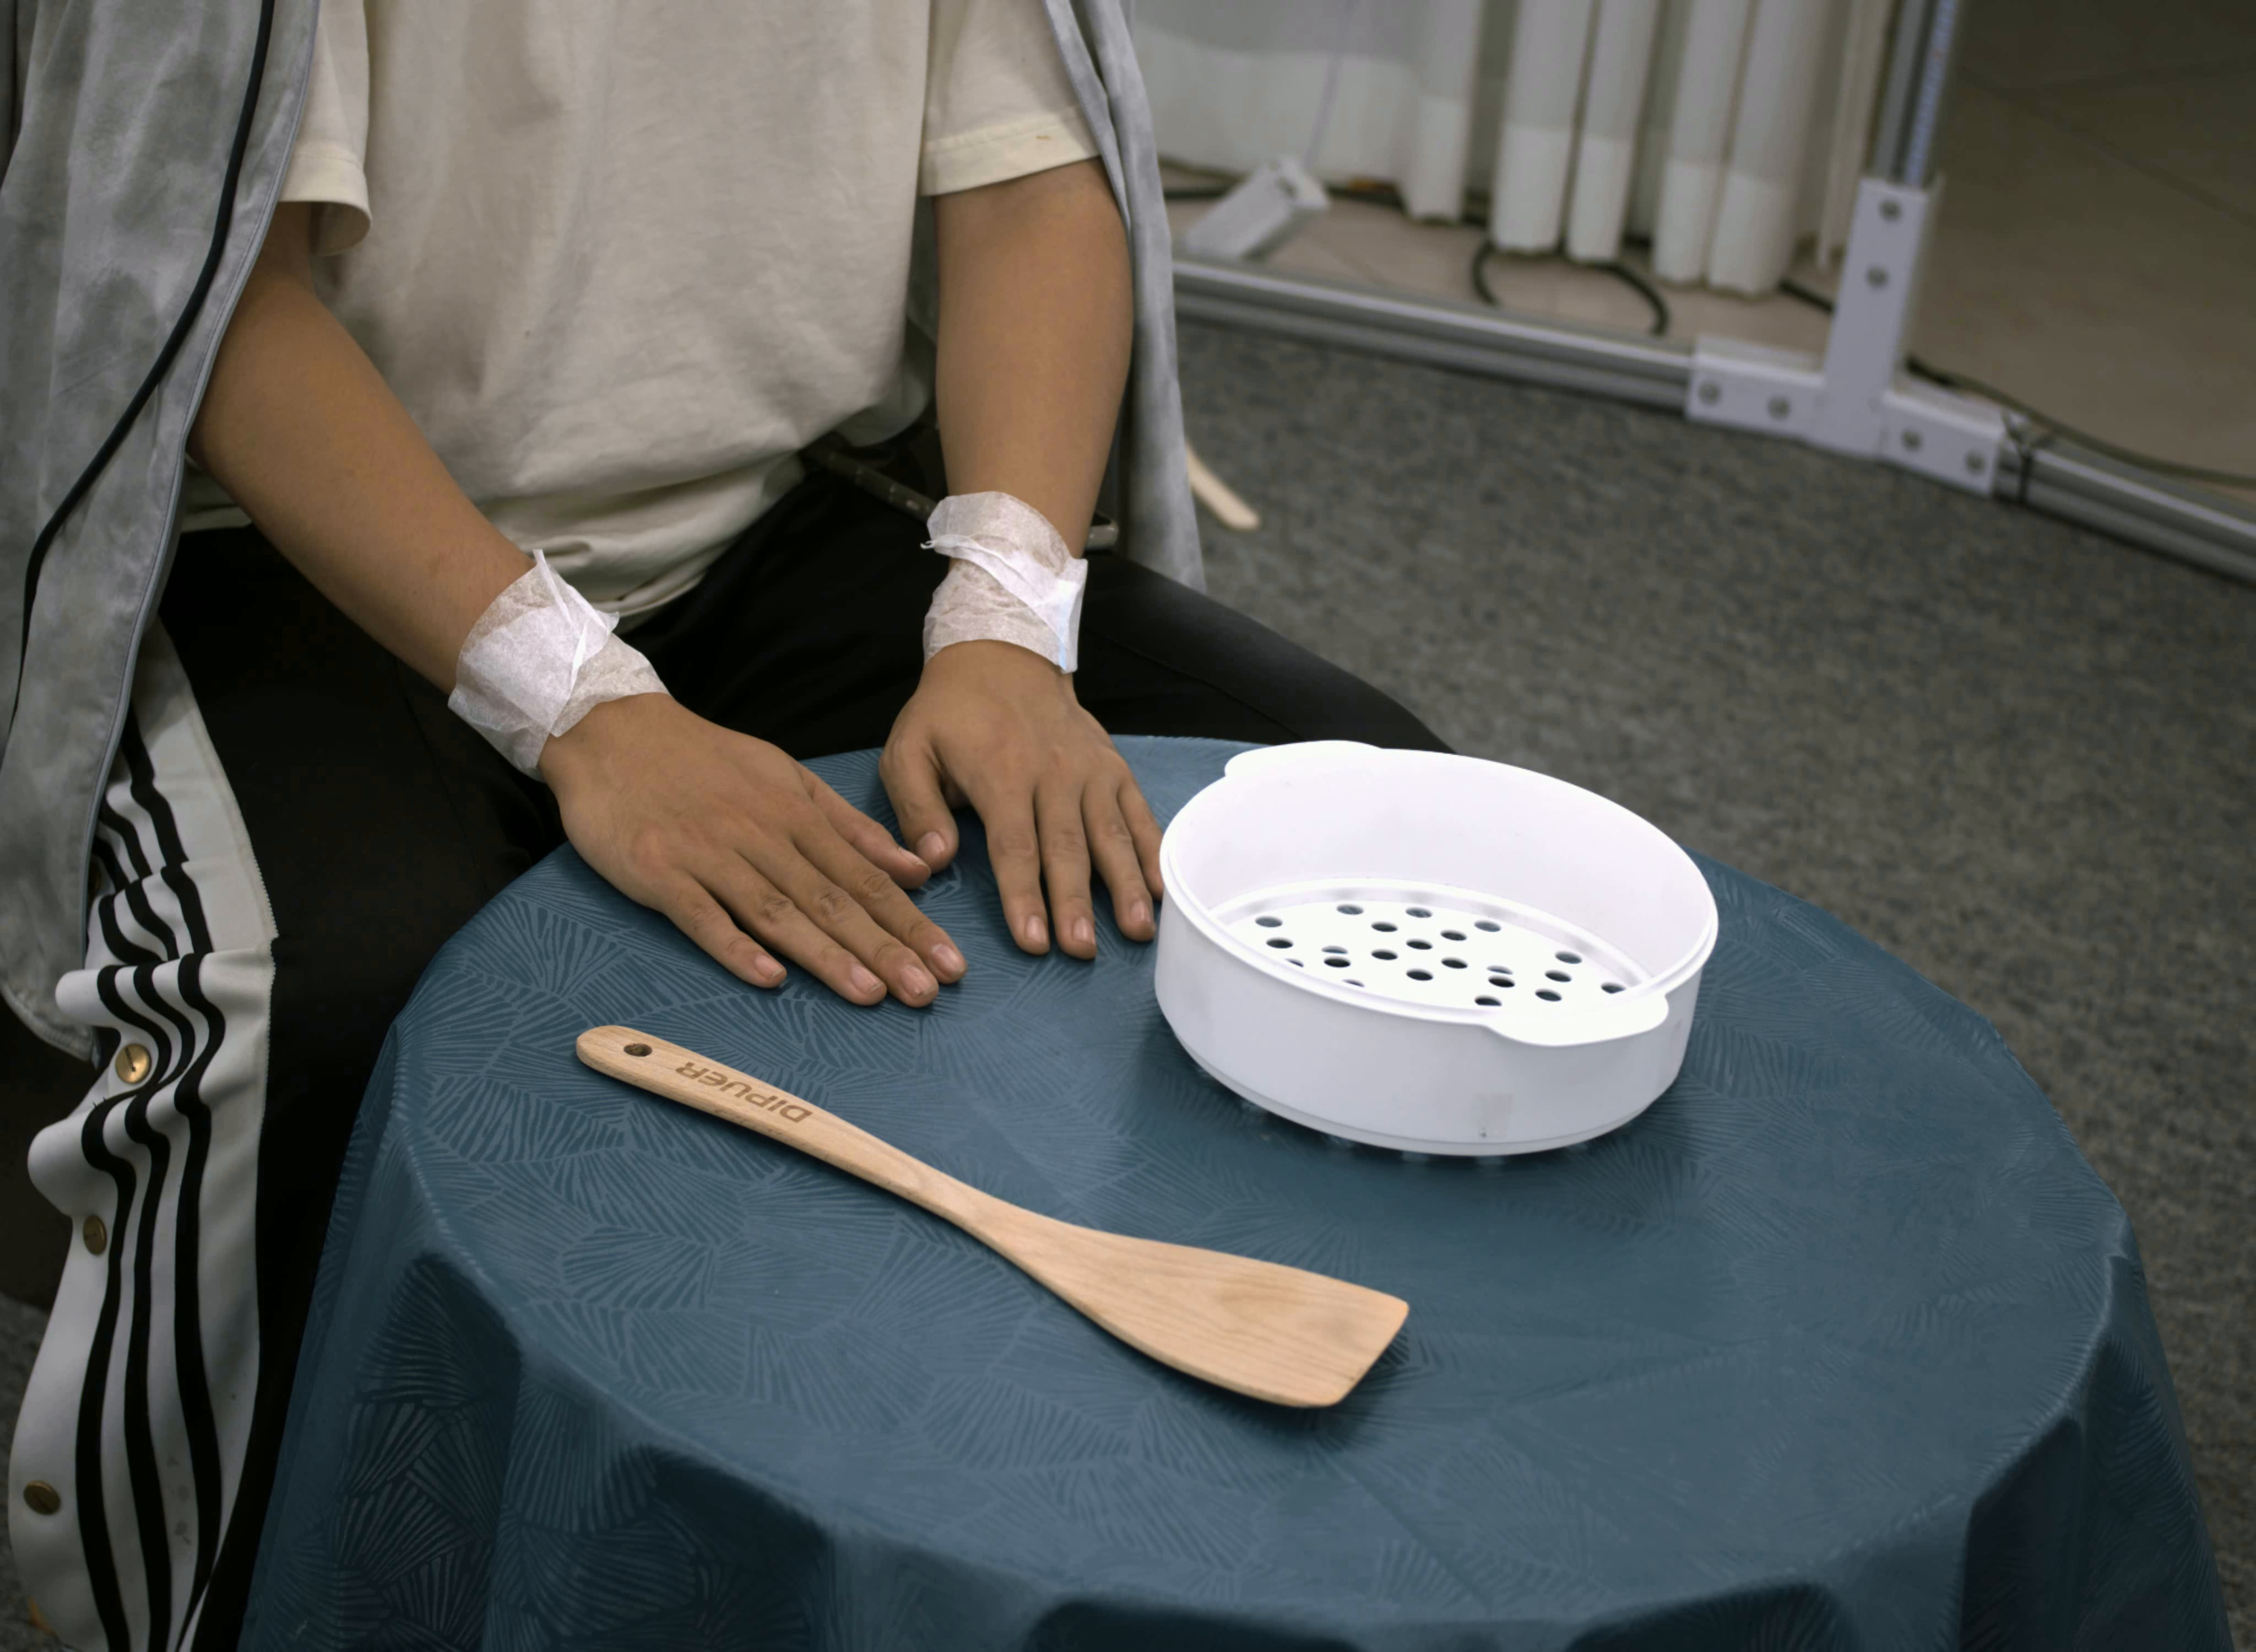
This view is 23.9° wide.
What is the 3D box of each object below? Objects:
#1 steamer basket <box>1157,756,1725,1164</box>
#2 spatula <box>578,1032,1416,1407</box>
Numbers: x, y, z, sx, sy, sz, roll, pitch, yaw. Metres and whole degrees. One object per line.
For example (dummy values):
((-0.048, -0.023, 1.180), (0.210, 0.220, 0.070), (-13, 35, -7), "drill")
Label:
((0.109, 0.049, 1.904), (0.200, 0.069, 0.232), (-6, 28, -26), "steamer basket")
((-0.051, 0.124, 1.773), (0.329, 0.016, 0.080), (21, 29, 27), "spatula")
